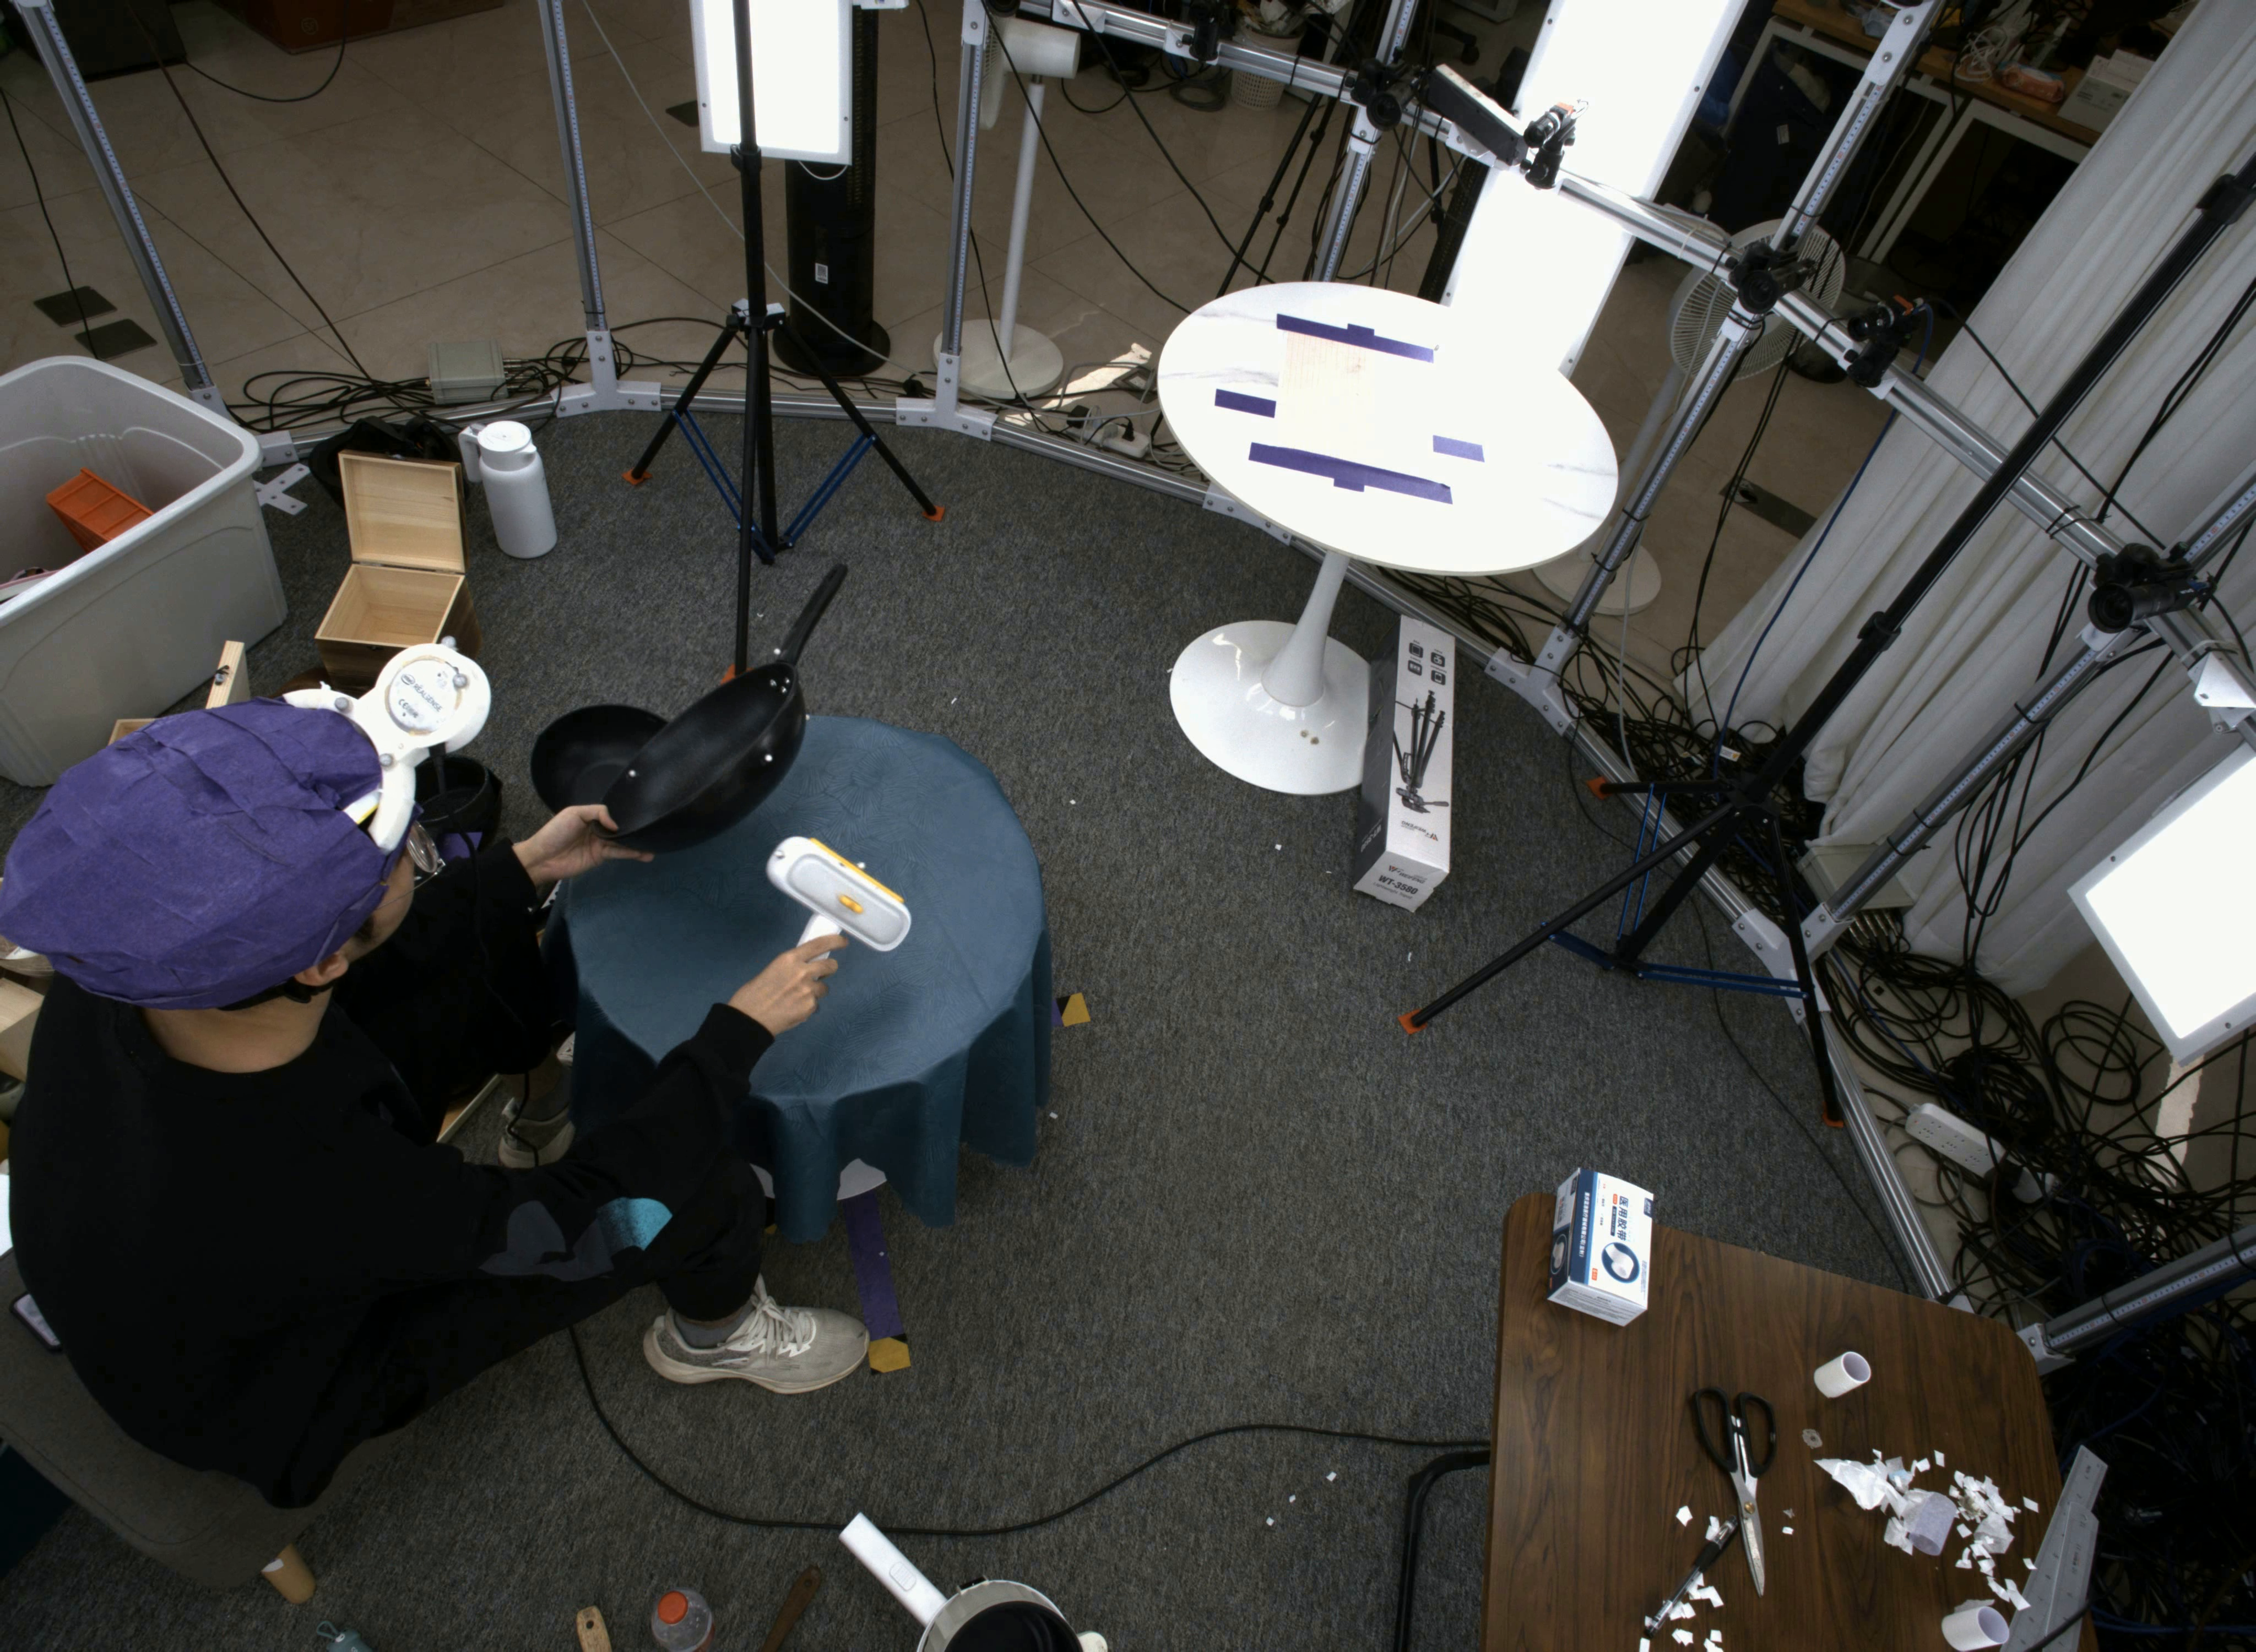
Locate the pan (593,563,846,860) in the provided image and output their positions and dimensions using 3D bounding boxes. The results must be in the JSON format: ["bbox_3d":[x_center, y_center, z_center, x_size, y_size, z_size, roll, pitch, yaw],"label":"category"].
[{"bbox_3d":[-0.469,-0.131,1.599,0.300,0.116,0.475,1,47,45],"label":"pan"}]

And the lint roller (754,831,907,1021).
[{"bbox_3d":[-0.361,0.127,1.491,0.199,0.071,0.193,35,74,-40],"label":"lint roller"}]
